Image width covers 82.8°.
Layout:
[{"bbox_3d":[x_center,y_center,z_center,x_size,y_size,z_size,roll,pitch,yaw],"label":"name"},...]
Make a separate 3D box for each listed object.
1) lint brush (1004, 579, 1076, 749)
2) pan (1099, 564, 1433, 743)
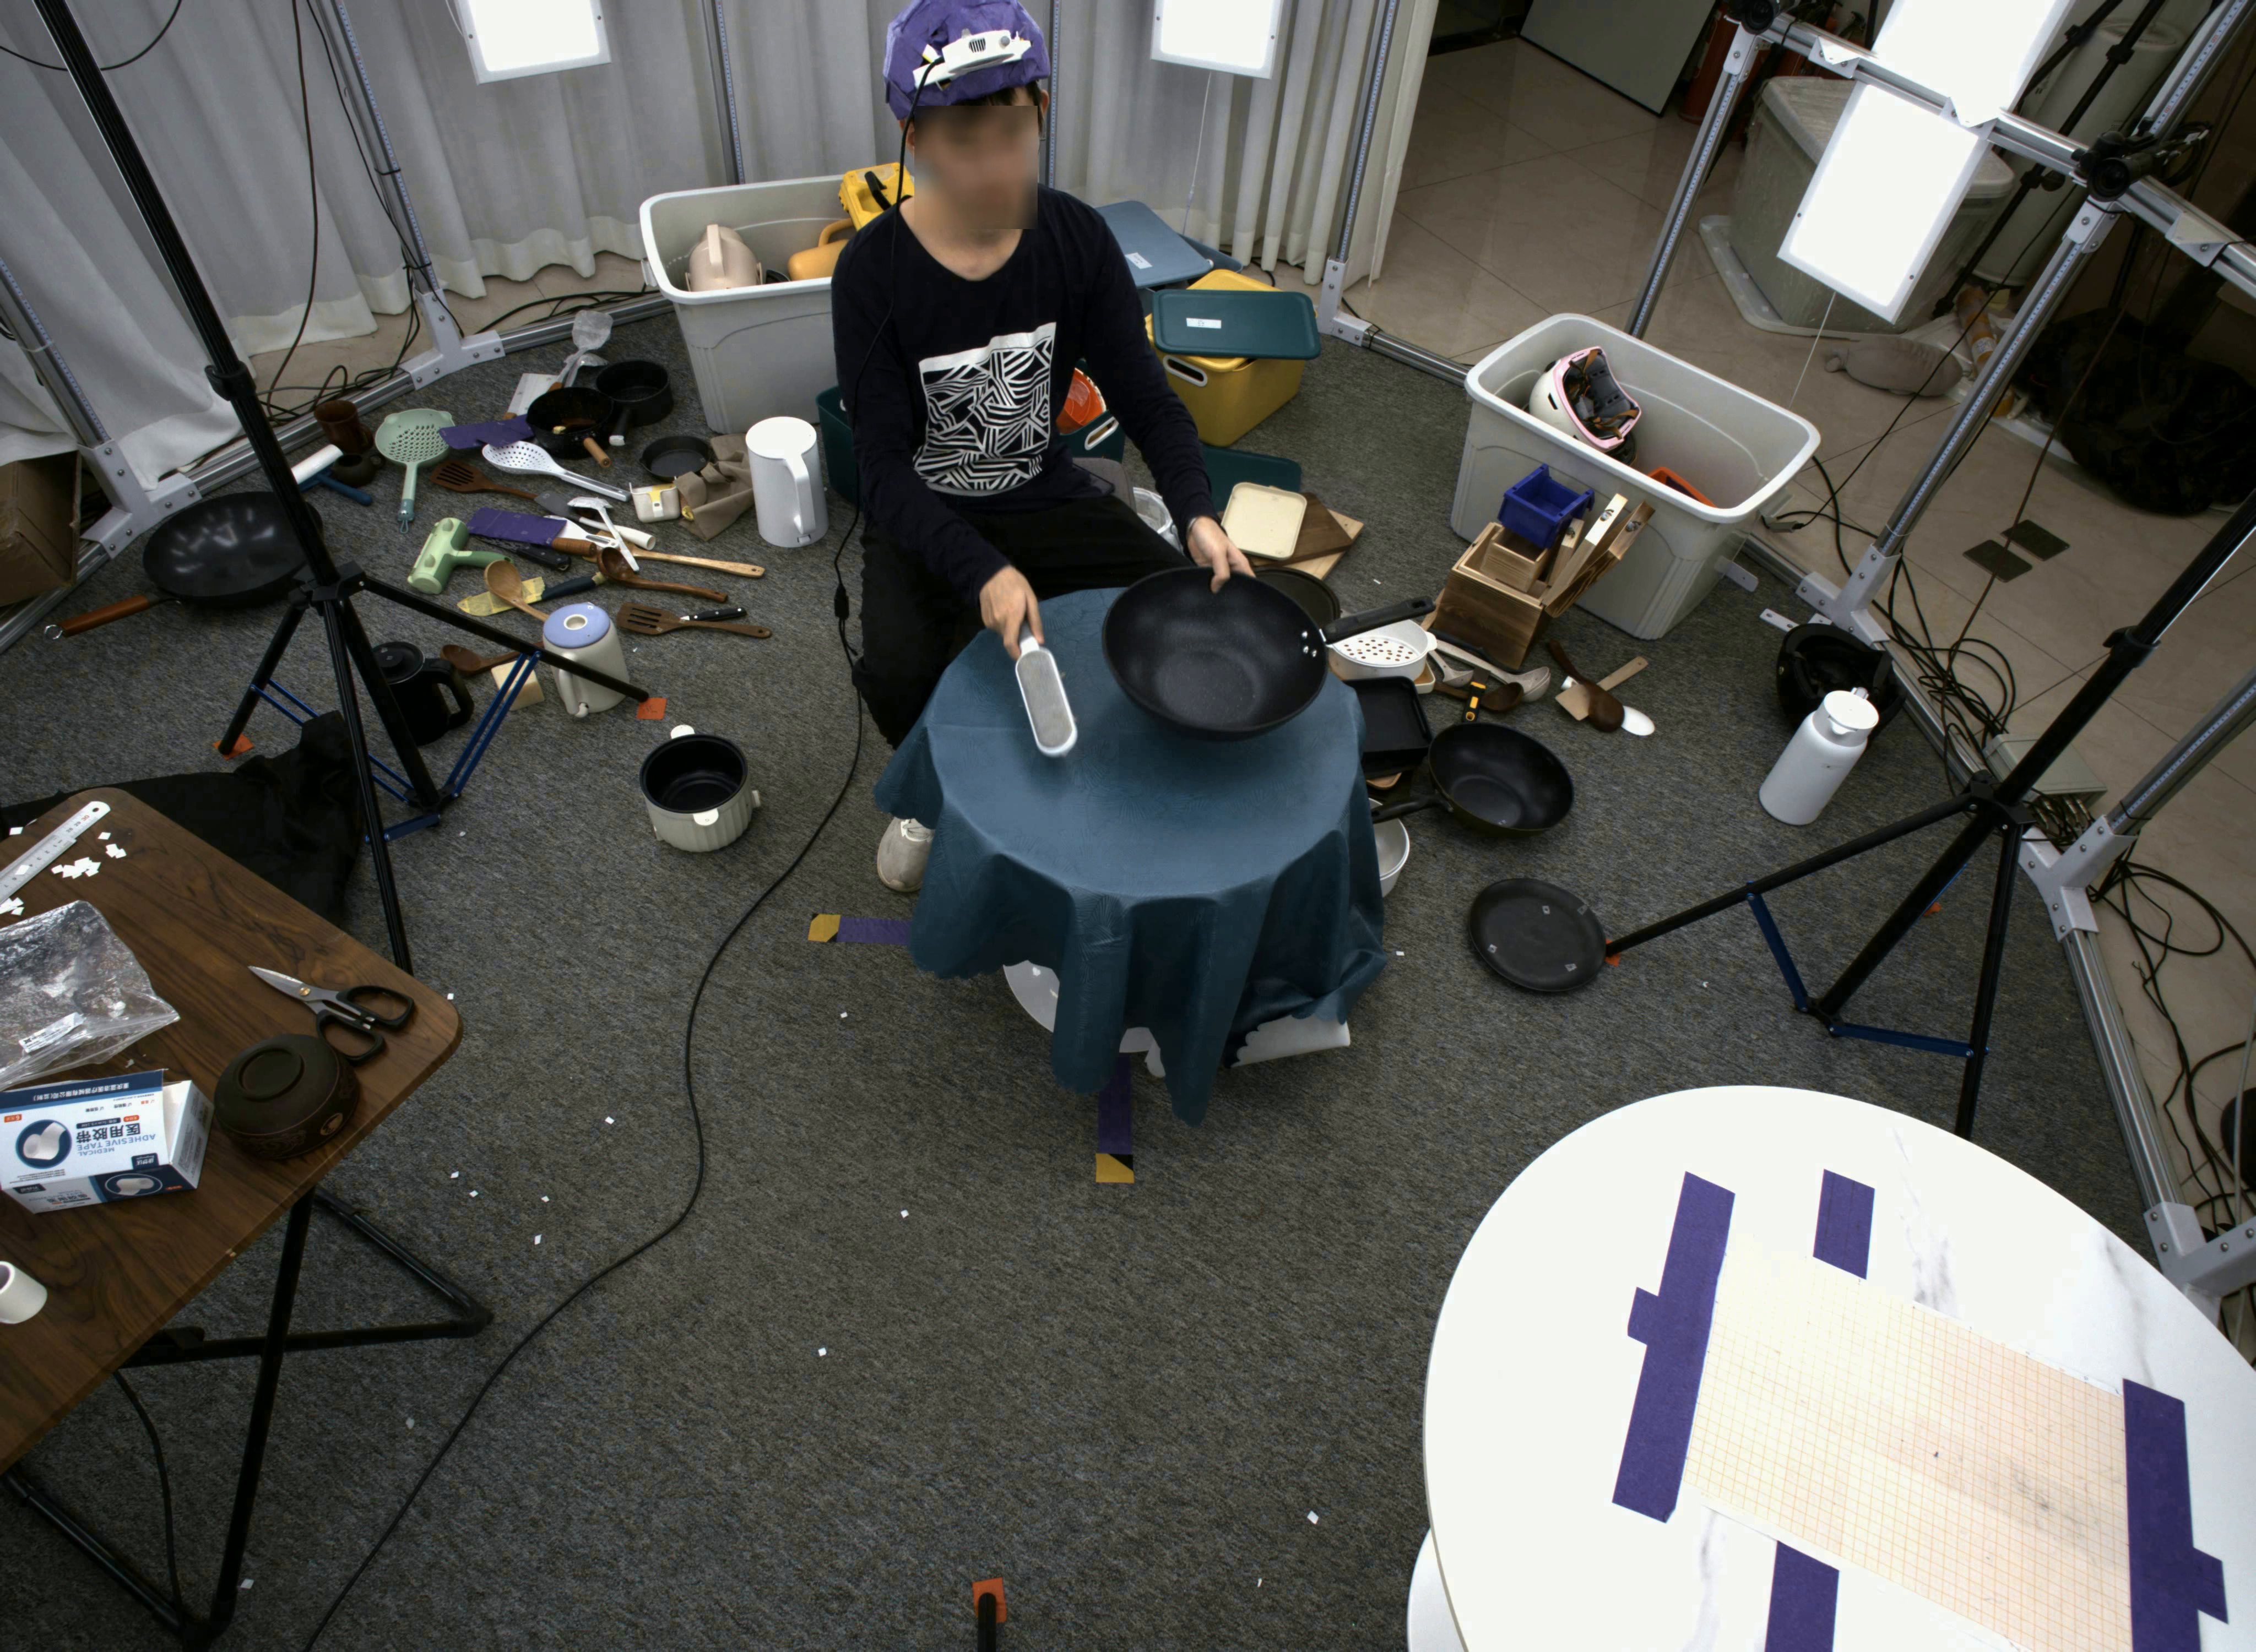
[{"bbox_3d":[-0.128,-0.230,1.772,0.060,0.020,0.316,-28,54,14],"label":"lint brush"},{"bbox_3d":[0.190,-0.241,1.765,0.476,0.109,0.317,-9,55,-16],"label":"pan"}]
